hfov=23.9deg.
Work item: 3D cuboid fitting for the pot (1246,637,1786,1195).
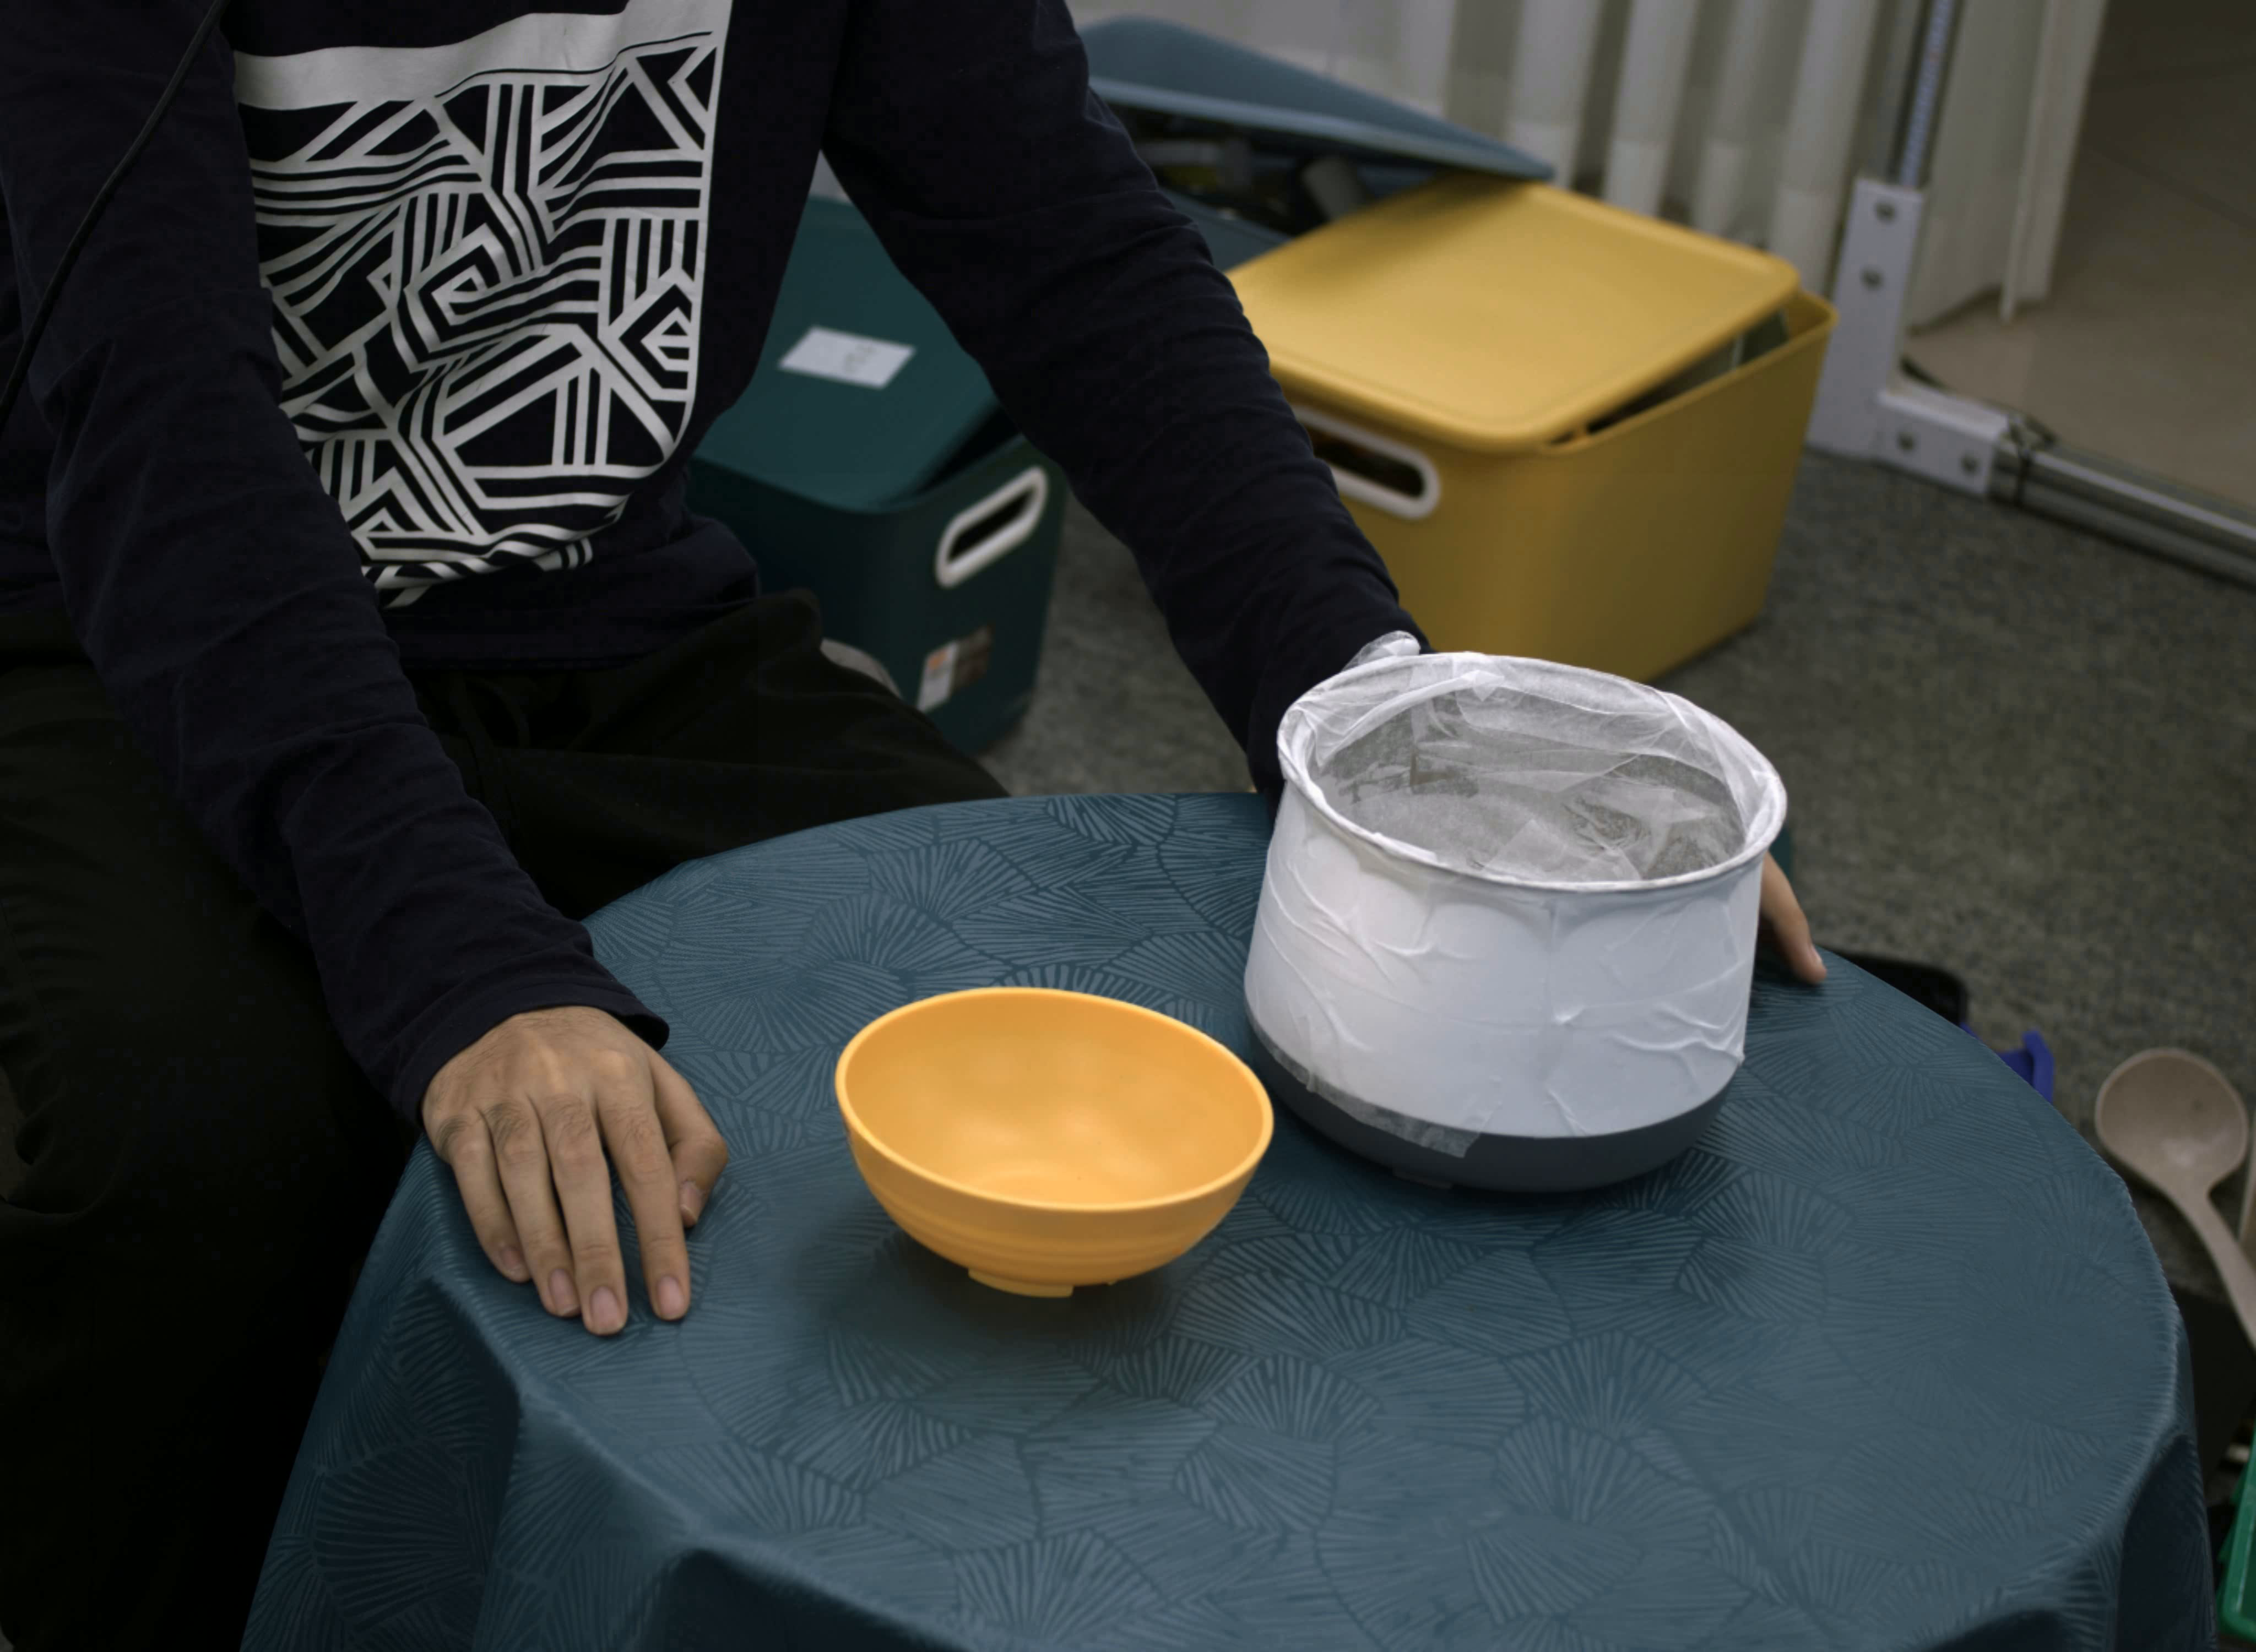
[{"bbox_3d":[0.120,0.025,1.882,0.177,0.136,0.236,-7,28,-25],"label":"pot"}]

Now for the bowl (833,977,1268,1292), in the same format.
[{"bbox_3d":[-0.029,0.111,1.754,0.145,0.060,0.146,7,27,-4],"label":"bowl"}]
